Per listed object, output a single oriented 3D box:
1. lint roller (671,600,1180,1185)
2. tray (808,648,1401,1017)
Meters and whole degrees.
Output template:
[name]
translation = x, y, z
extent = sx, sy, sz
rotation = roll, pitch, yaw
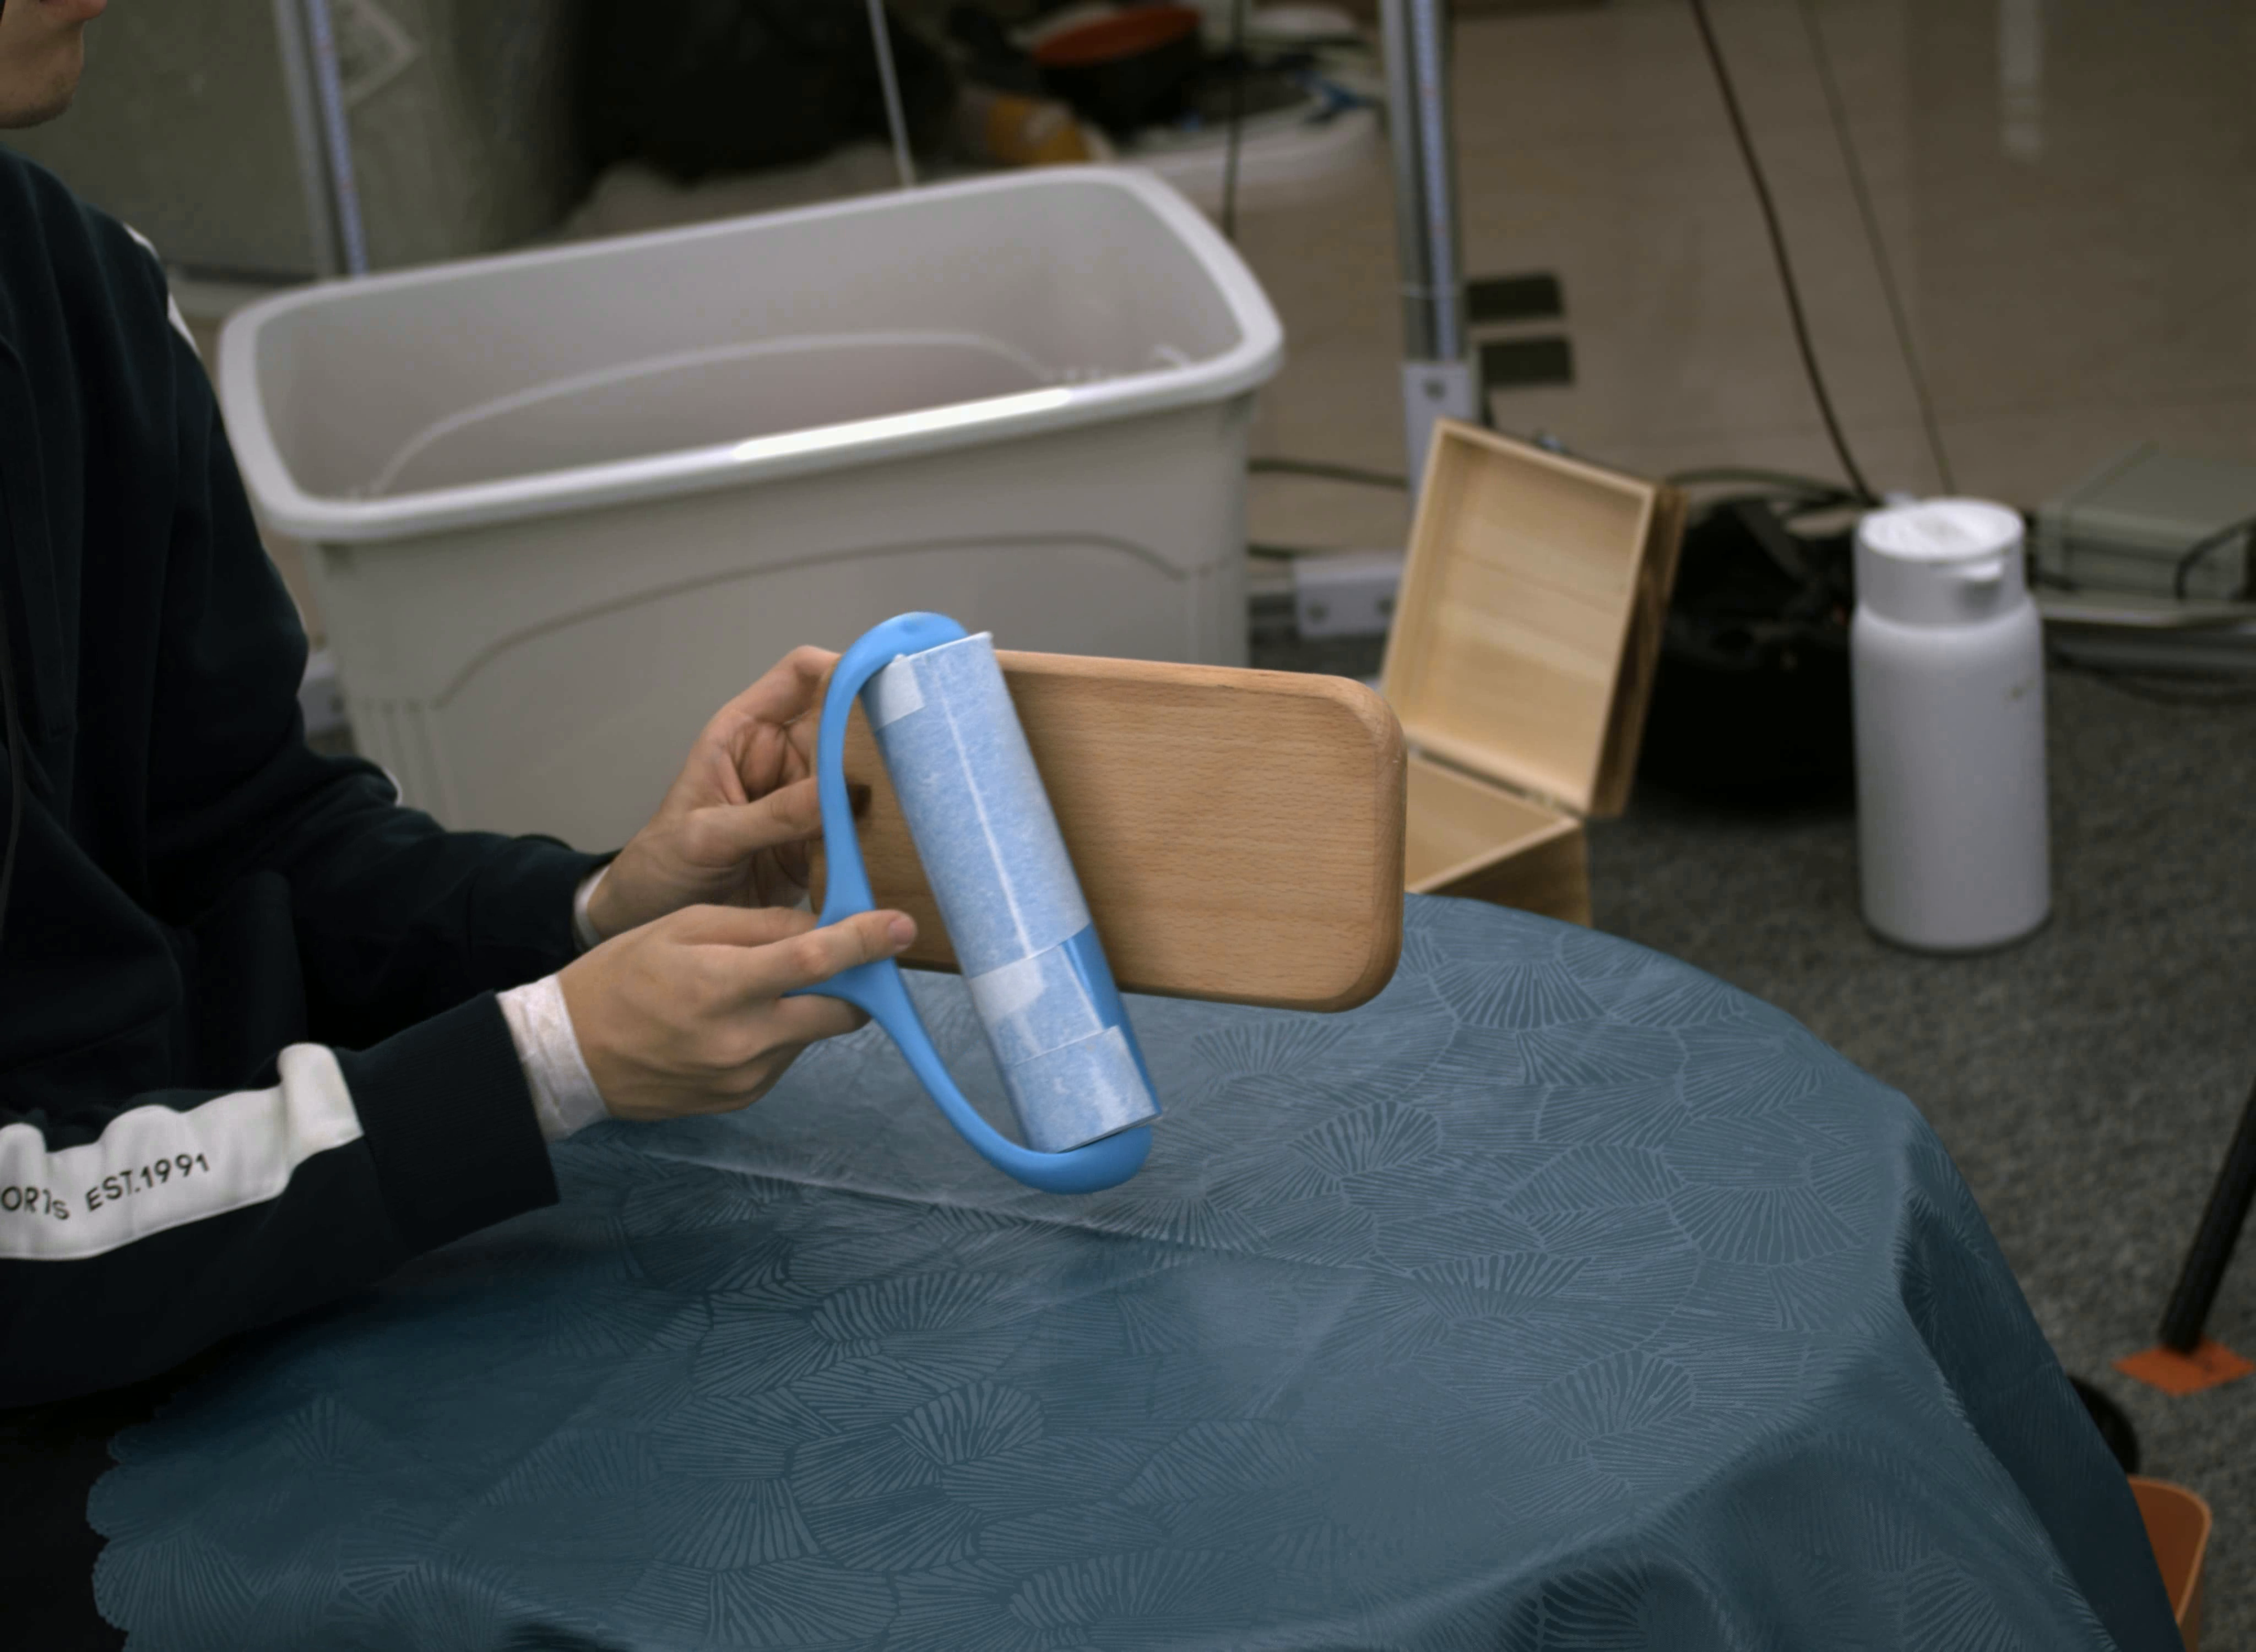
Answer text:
[lint roller]
translation = -0.094, 0.048, 2.118
extent = 0.180, 0.229, 0.068
rotation = -24, -1, 9
[tray]
translation = -0.013, 0.001, 2.131
extent = 0.250, 0.131, 0.023
rotation = 4, 7, 27
